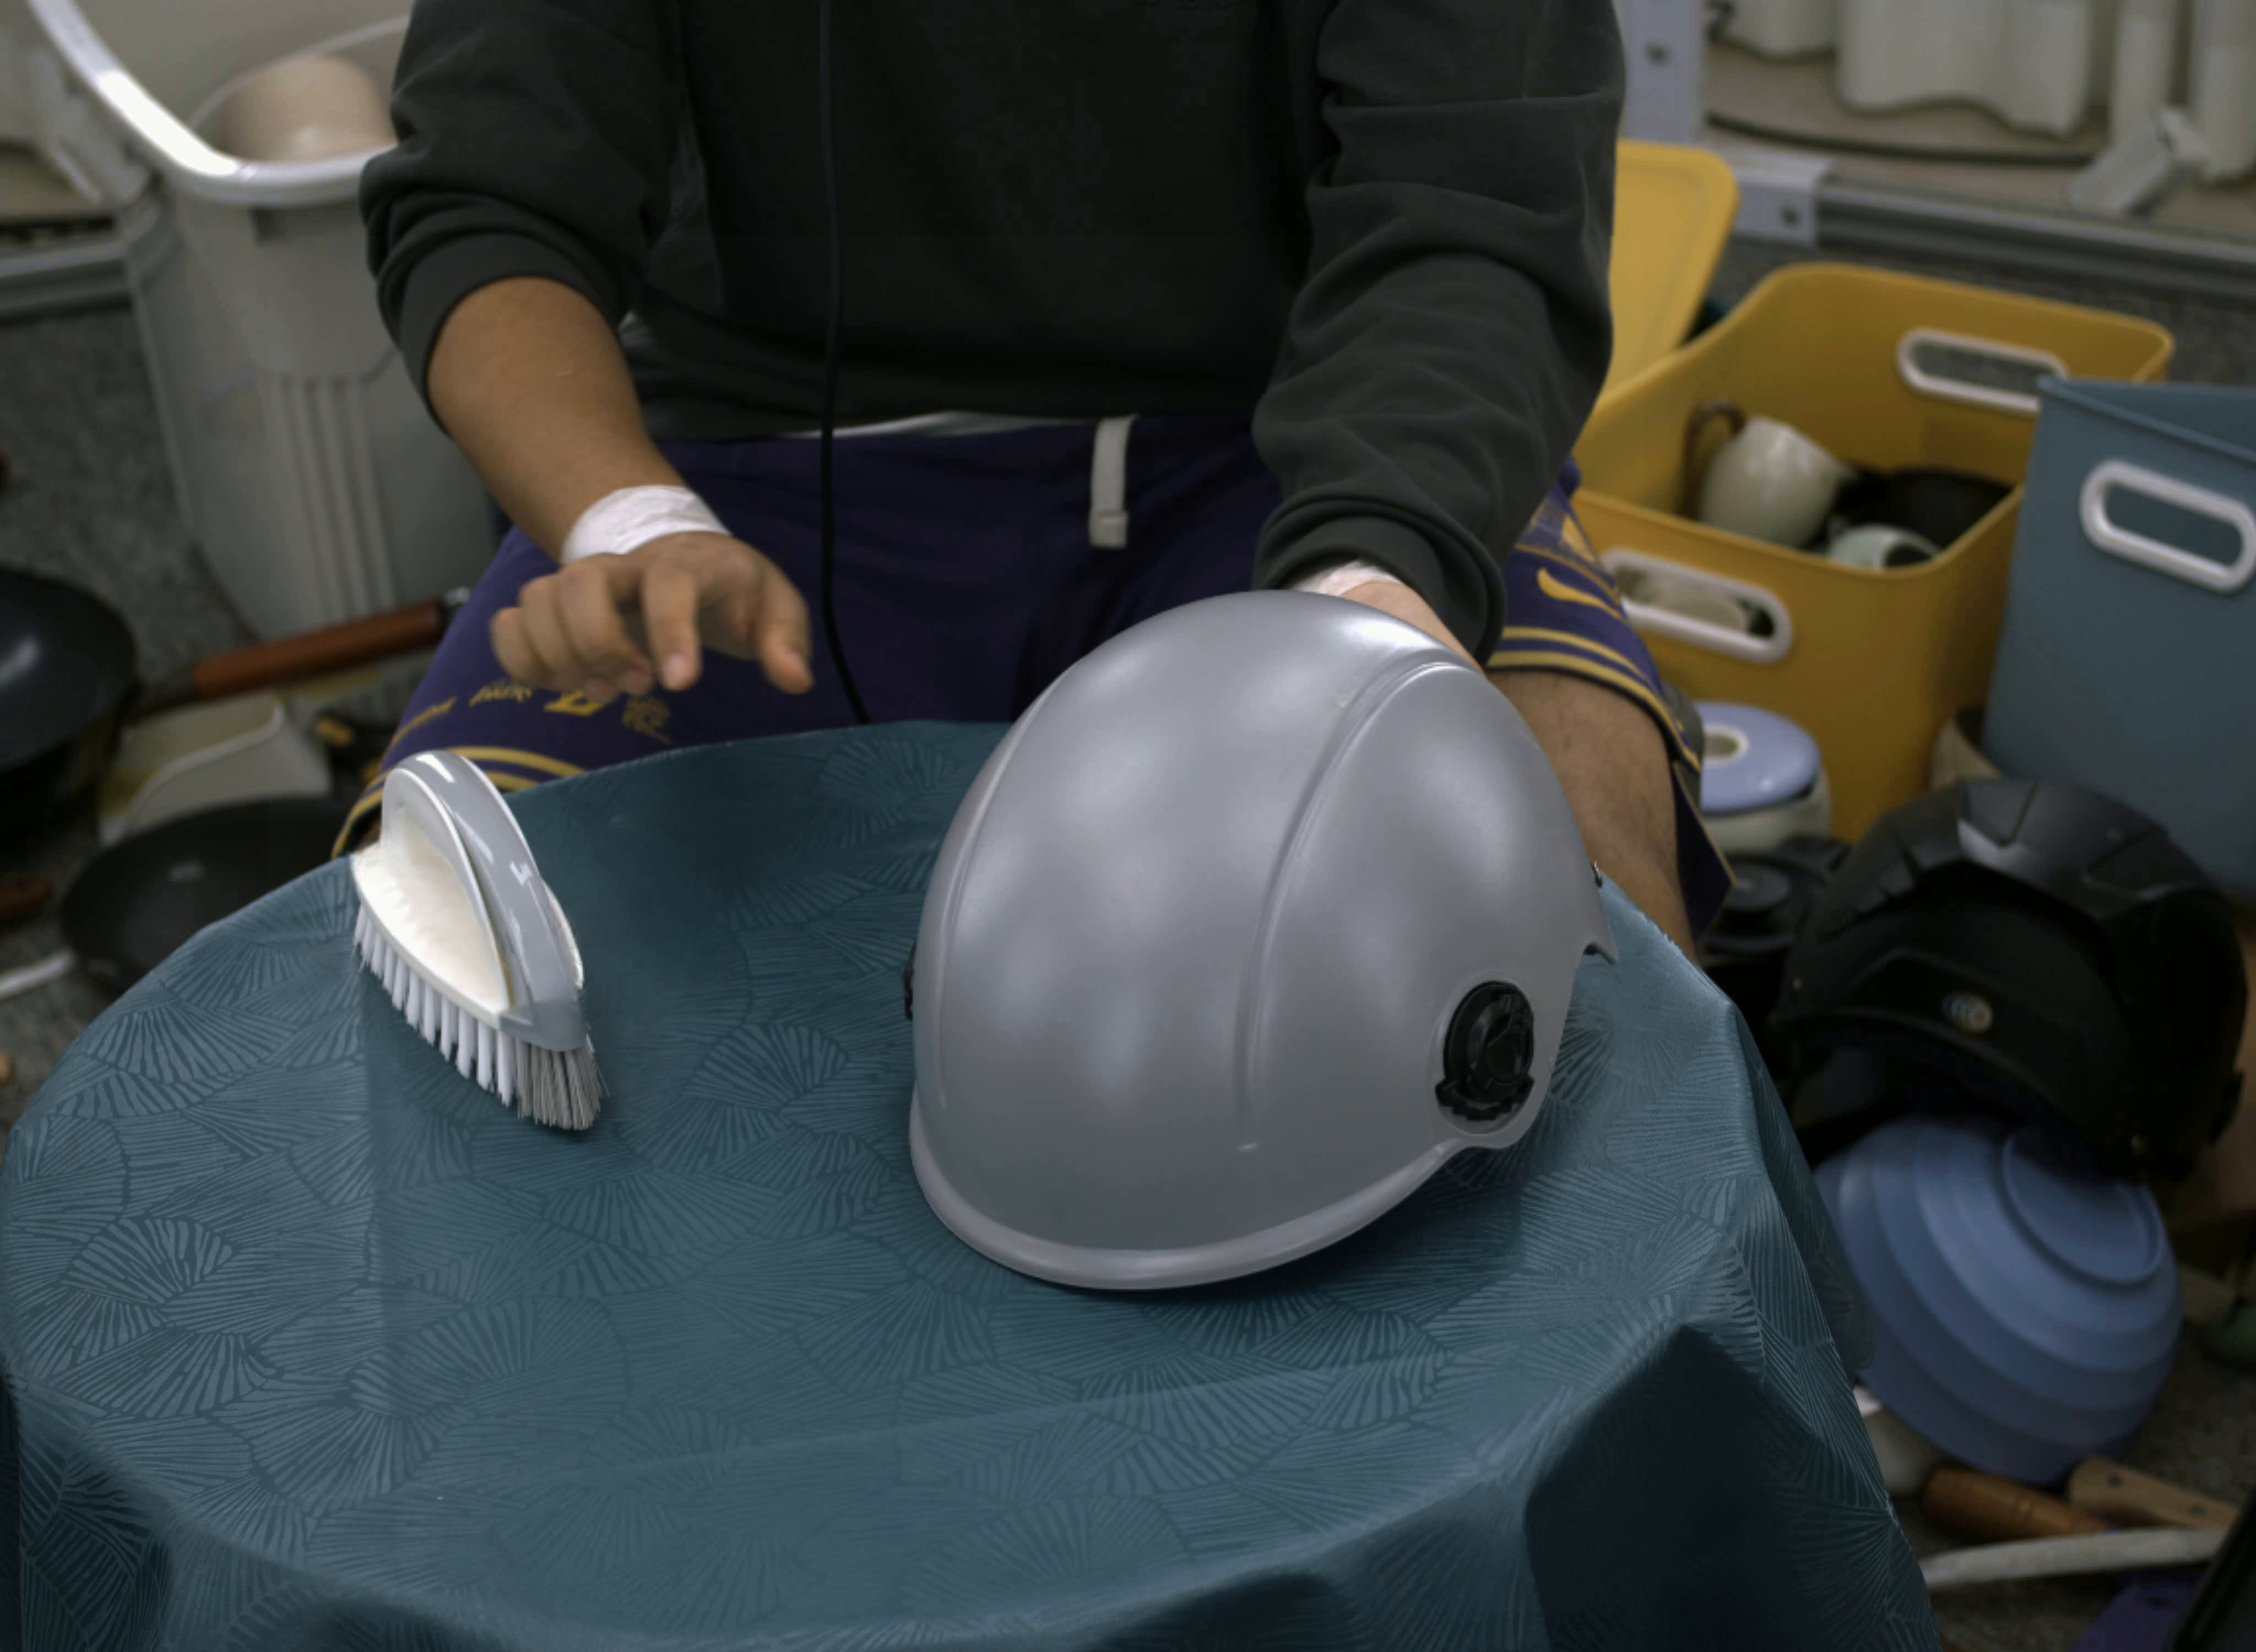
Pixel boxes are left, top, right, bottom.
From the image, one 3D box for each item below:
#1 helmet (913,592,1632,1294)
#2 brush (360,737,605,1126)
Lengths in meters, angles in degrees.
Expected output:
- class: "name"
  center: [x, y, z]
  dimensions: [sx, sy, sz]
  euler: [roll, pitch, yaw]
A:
- class: "helmet"
  center: [0.036, 0.018, 1.881]
  dimensions: [0.230, 0.167, 0.281]
  euler: [4, 29, 30]
- class: "brush"
  center: [-0.221, 0.031, 1.963]
  dimensions: [0.062, 0.093, 0.177]
  euler: [-15, 32, -19]
